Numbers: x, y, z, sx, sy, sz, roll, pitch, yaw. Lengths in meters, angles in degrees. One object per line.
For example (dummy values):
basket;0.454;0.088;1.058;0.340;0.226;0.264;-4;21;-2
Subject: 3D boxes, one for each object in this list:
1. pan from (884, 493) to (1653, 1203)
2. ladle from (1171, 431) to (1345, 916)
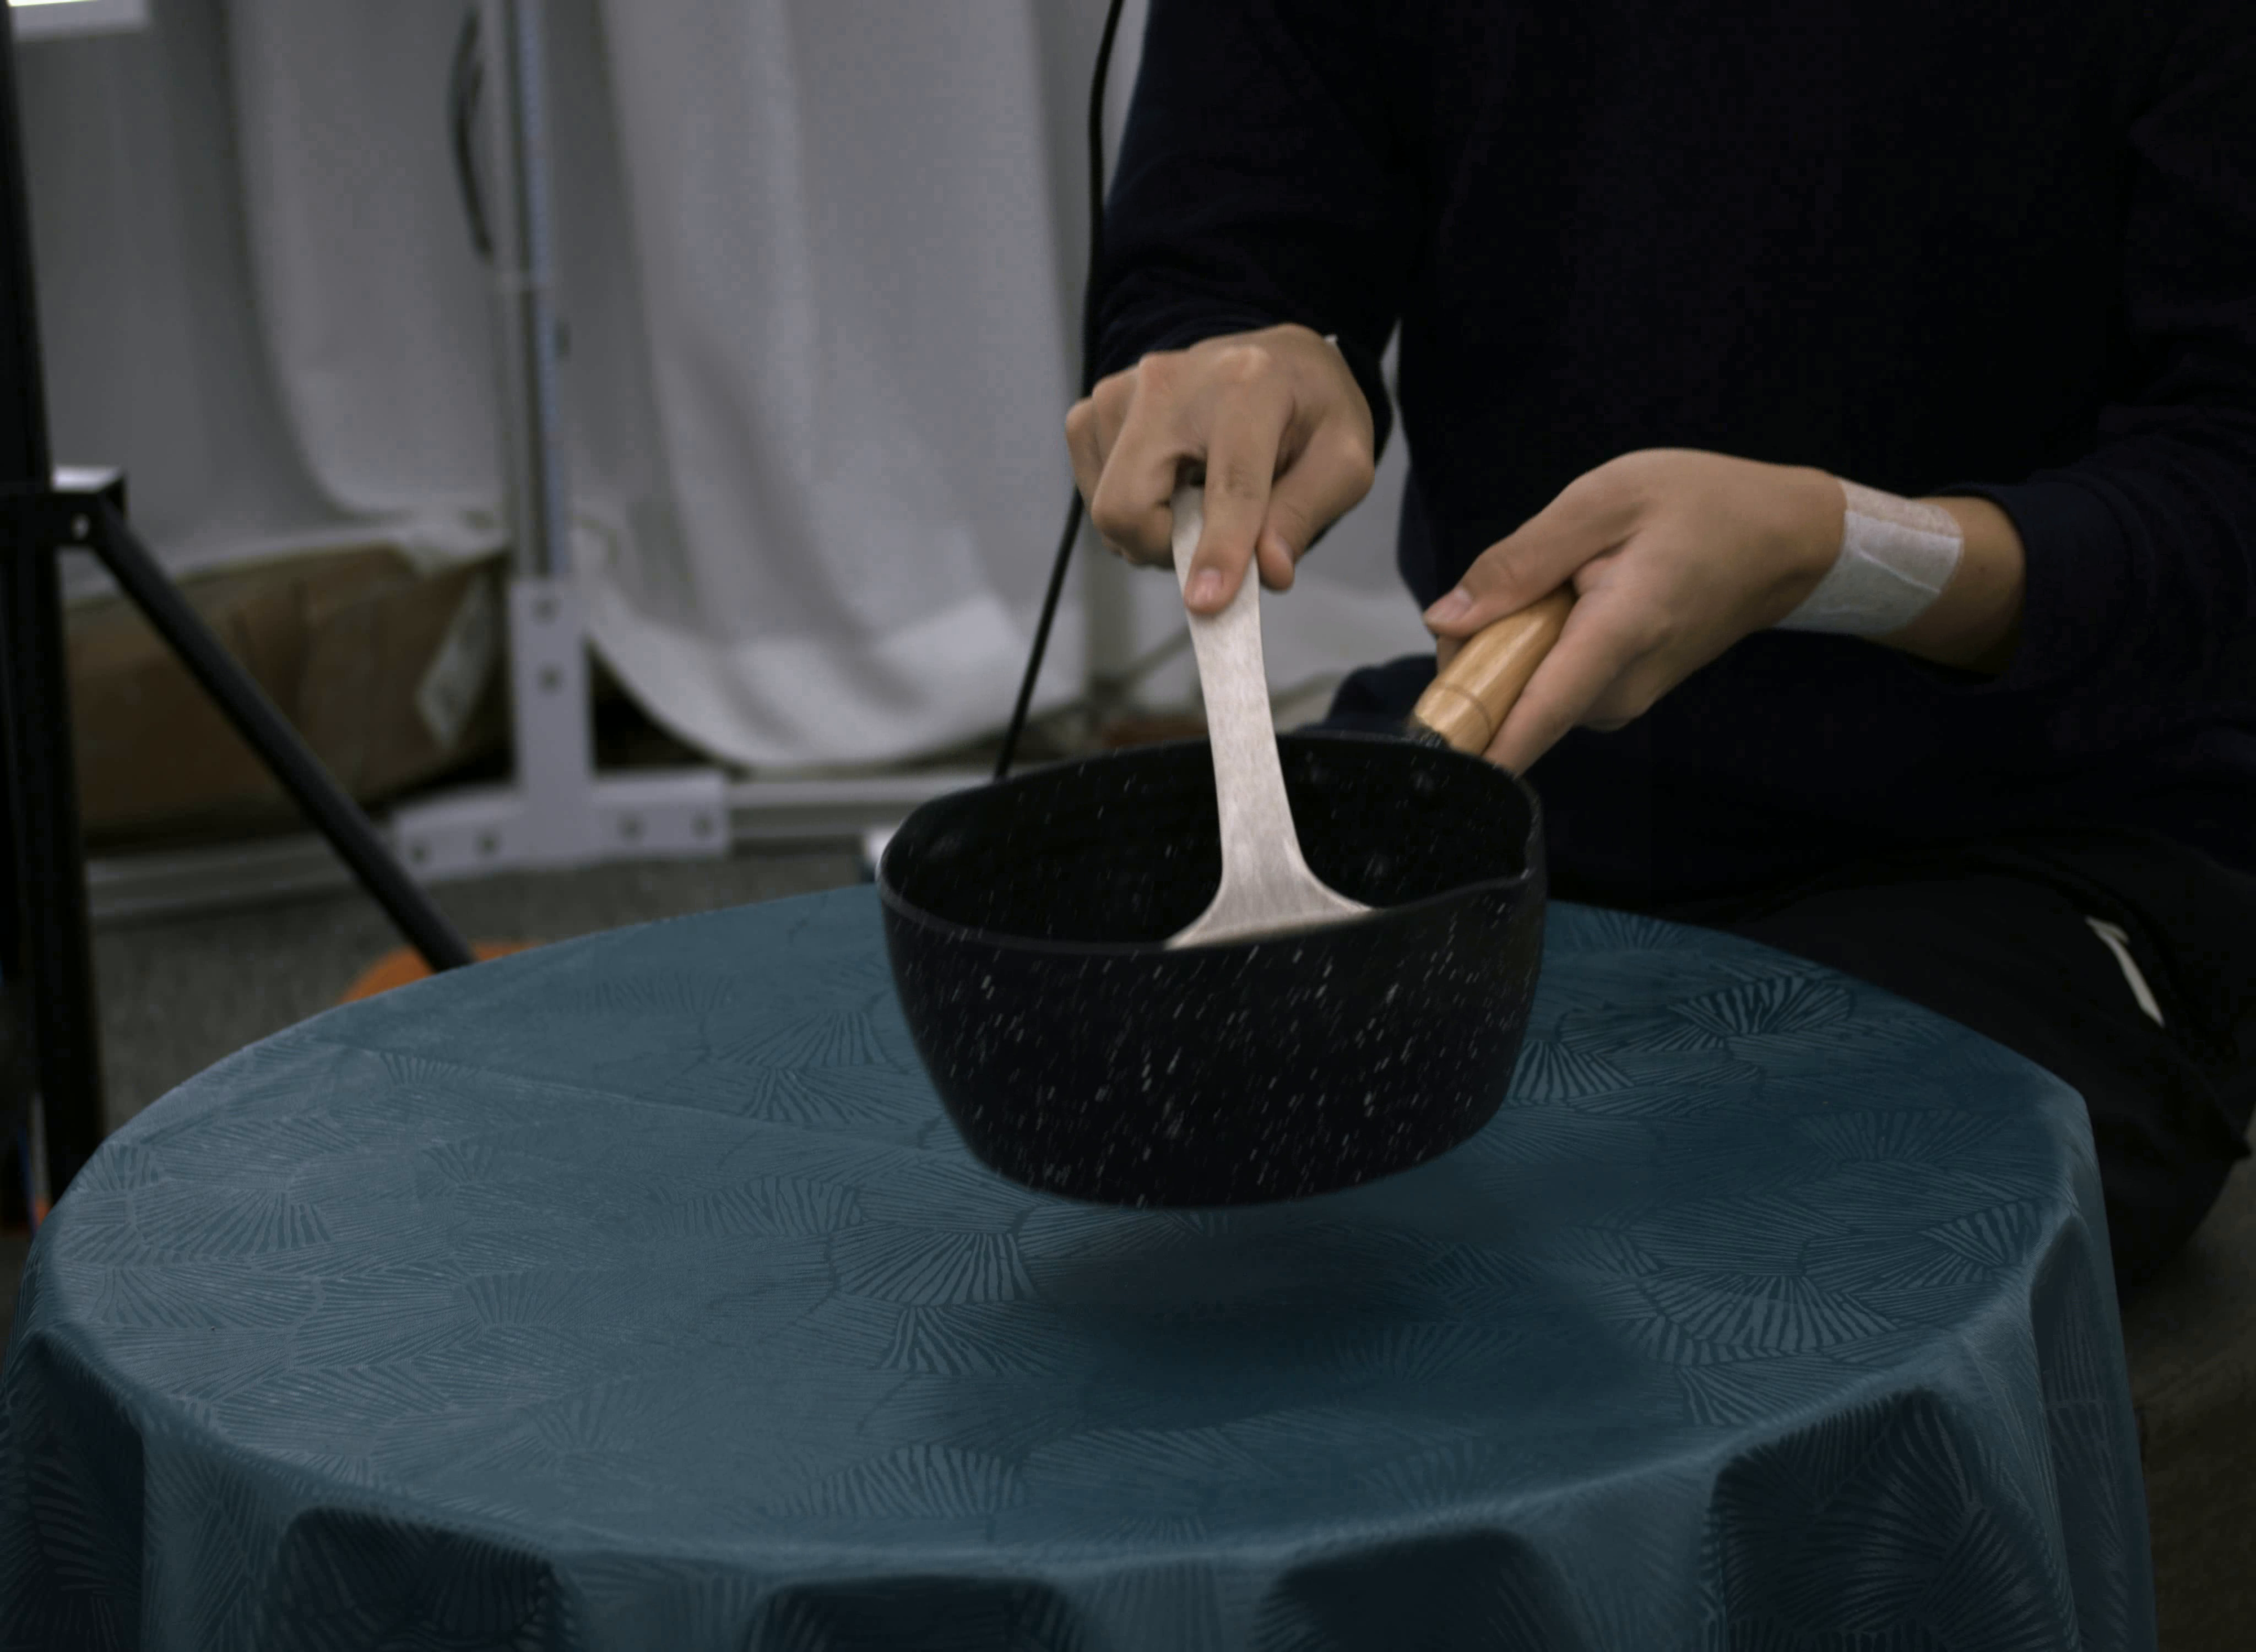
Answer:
pan;0.067;0.002;1.529;0.211;0.108;0.337;4;21;32
ladle;0.030;-0.047;1.533;0.089;0.068;0.278;-13;44;5
